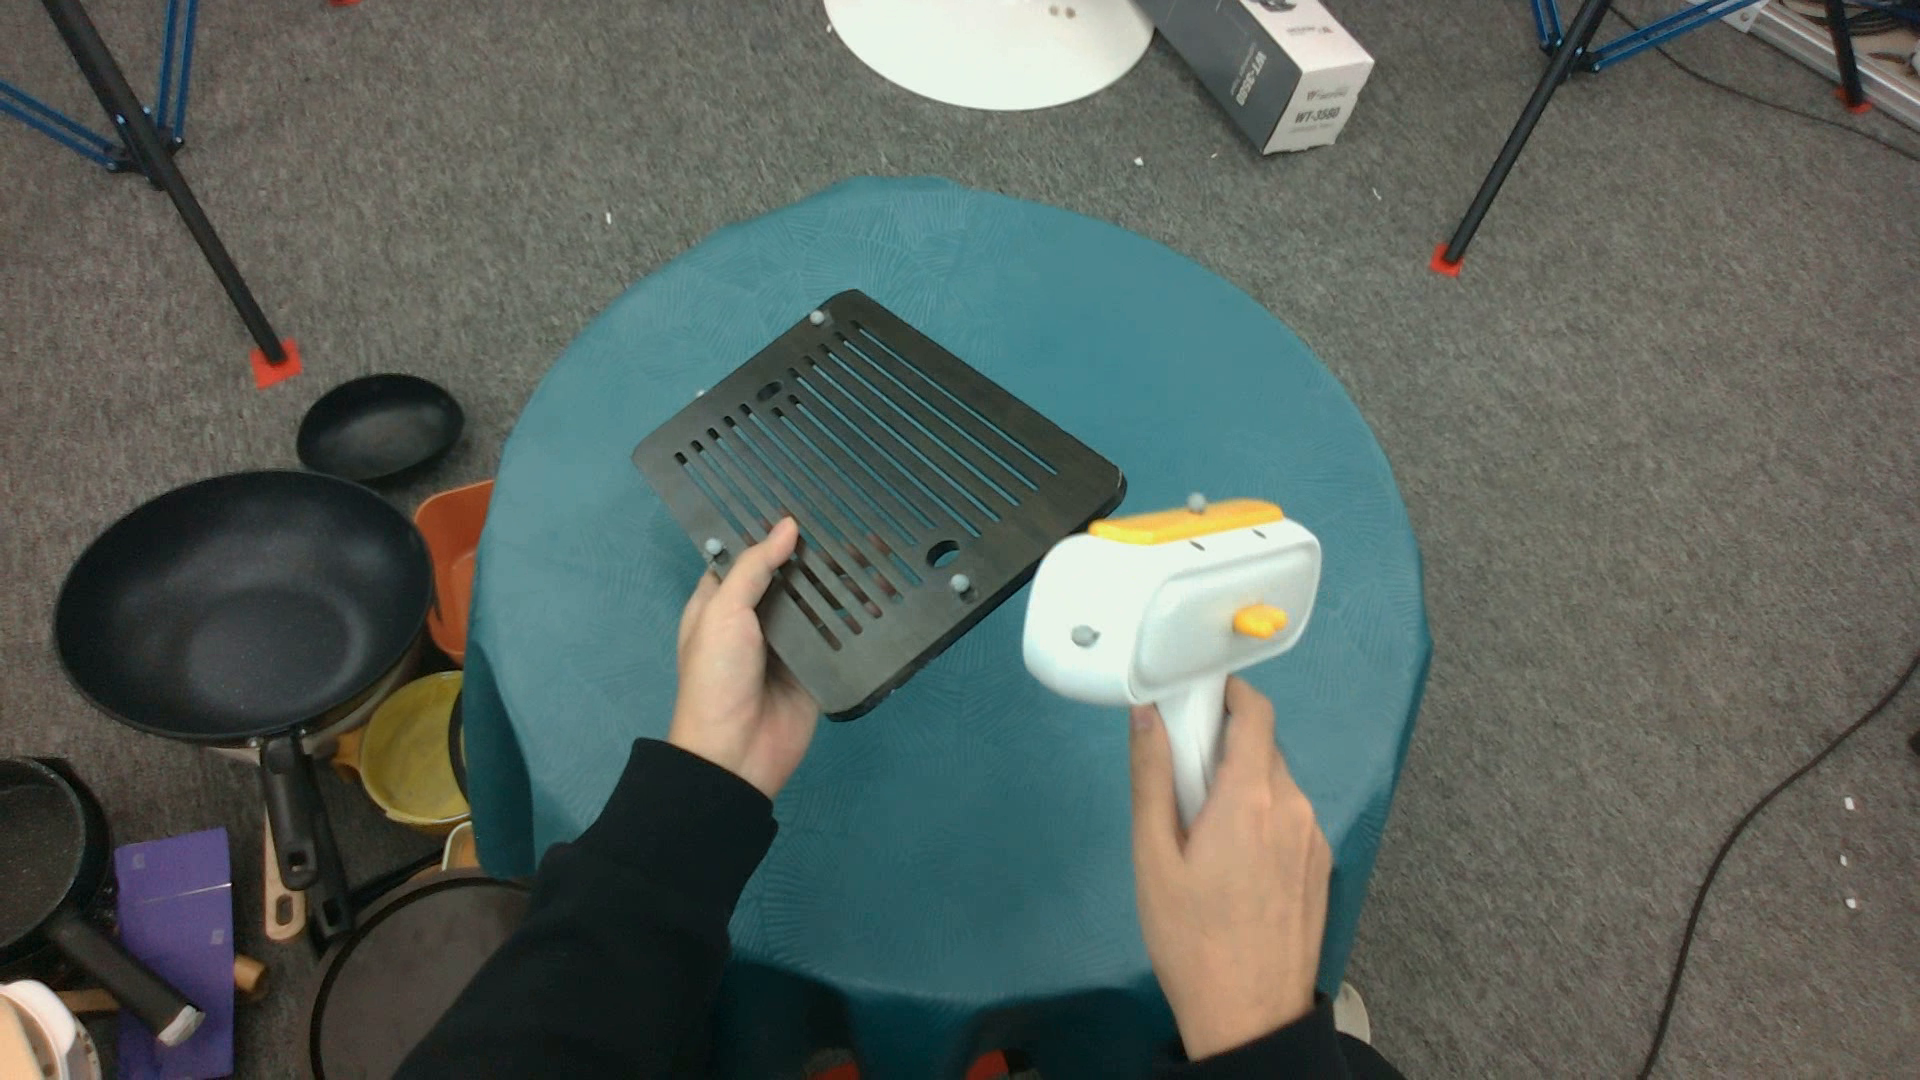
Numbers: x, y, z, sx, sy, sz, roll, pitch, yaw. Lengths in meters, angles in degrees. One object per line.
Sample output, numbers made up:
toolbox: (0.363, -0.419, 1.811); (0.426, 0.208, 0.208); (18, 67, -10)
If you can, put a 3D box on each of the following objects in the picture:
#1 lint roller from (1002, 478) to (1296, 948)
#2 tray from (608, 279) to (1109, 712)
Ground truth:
lint roller: (0.091, 0.077, 0.585); (0.074, 0.192, 0.193); (7, 13, 30)
tray: (-0.067, -0.039, 0.704); (0.170, 0.018, 0.306); (-38, 40, -8)
